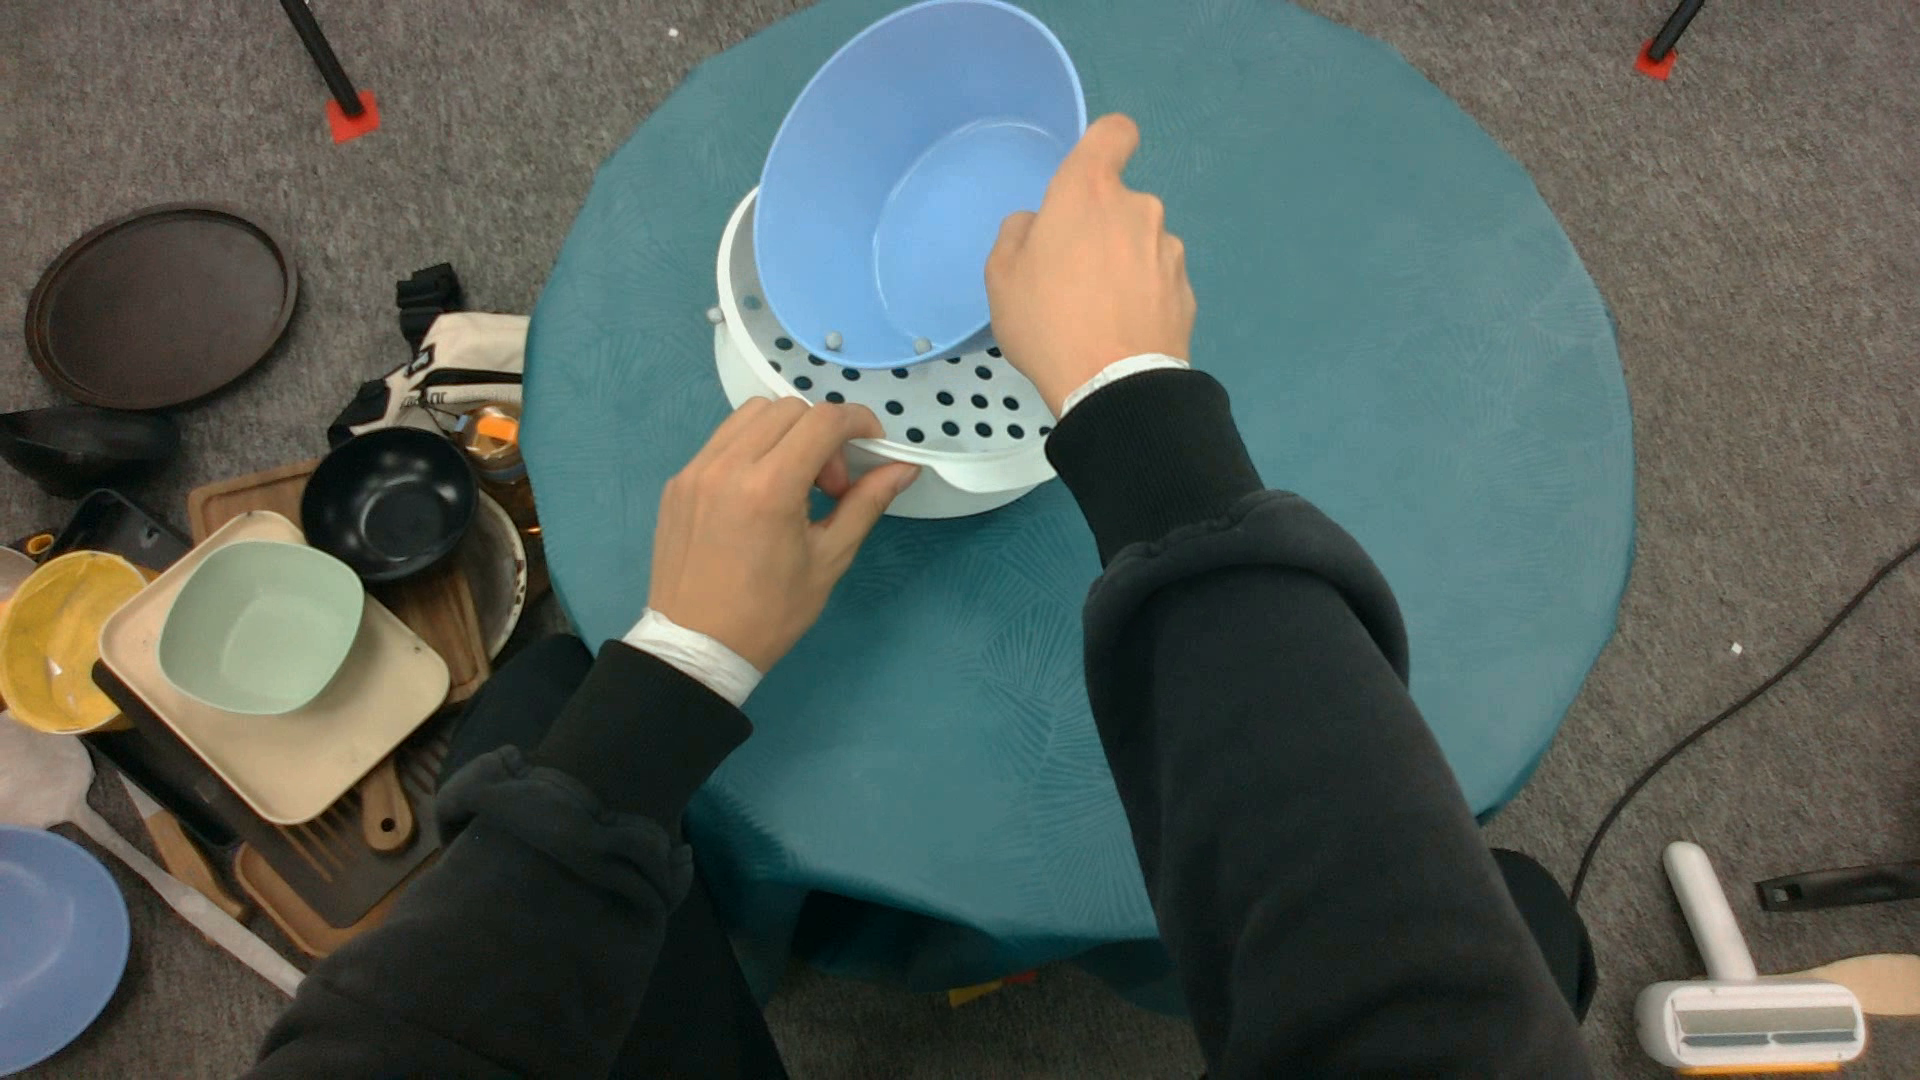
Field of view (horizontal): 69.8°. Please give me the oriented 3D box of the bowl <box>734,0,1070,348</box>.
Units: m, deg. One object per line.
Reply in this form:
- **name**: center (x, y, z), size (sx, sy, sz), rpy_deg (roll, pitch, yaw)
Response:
- **bowl**: center (-0.016, -0.164, 0.640), size (0.175, 0.070, 0.176), rpy_deg (-7, 75, 29)

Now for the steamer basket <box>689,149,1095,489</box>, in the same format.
- **steamer basket**: center (-0.036, -0.118, 0.693), size (0.202, 0.069, 0.231), rpy_deg (-14, 61, -26)
